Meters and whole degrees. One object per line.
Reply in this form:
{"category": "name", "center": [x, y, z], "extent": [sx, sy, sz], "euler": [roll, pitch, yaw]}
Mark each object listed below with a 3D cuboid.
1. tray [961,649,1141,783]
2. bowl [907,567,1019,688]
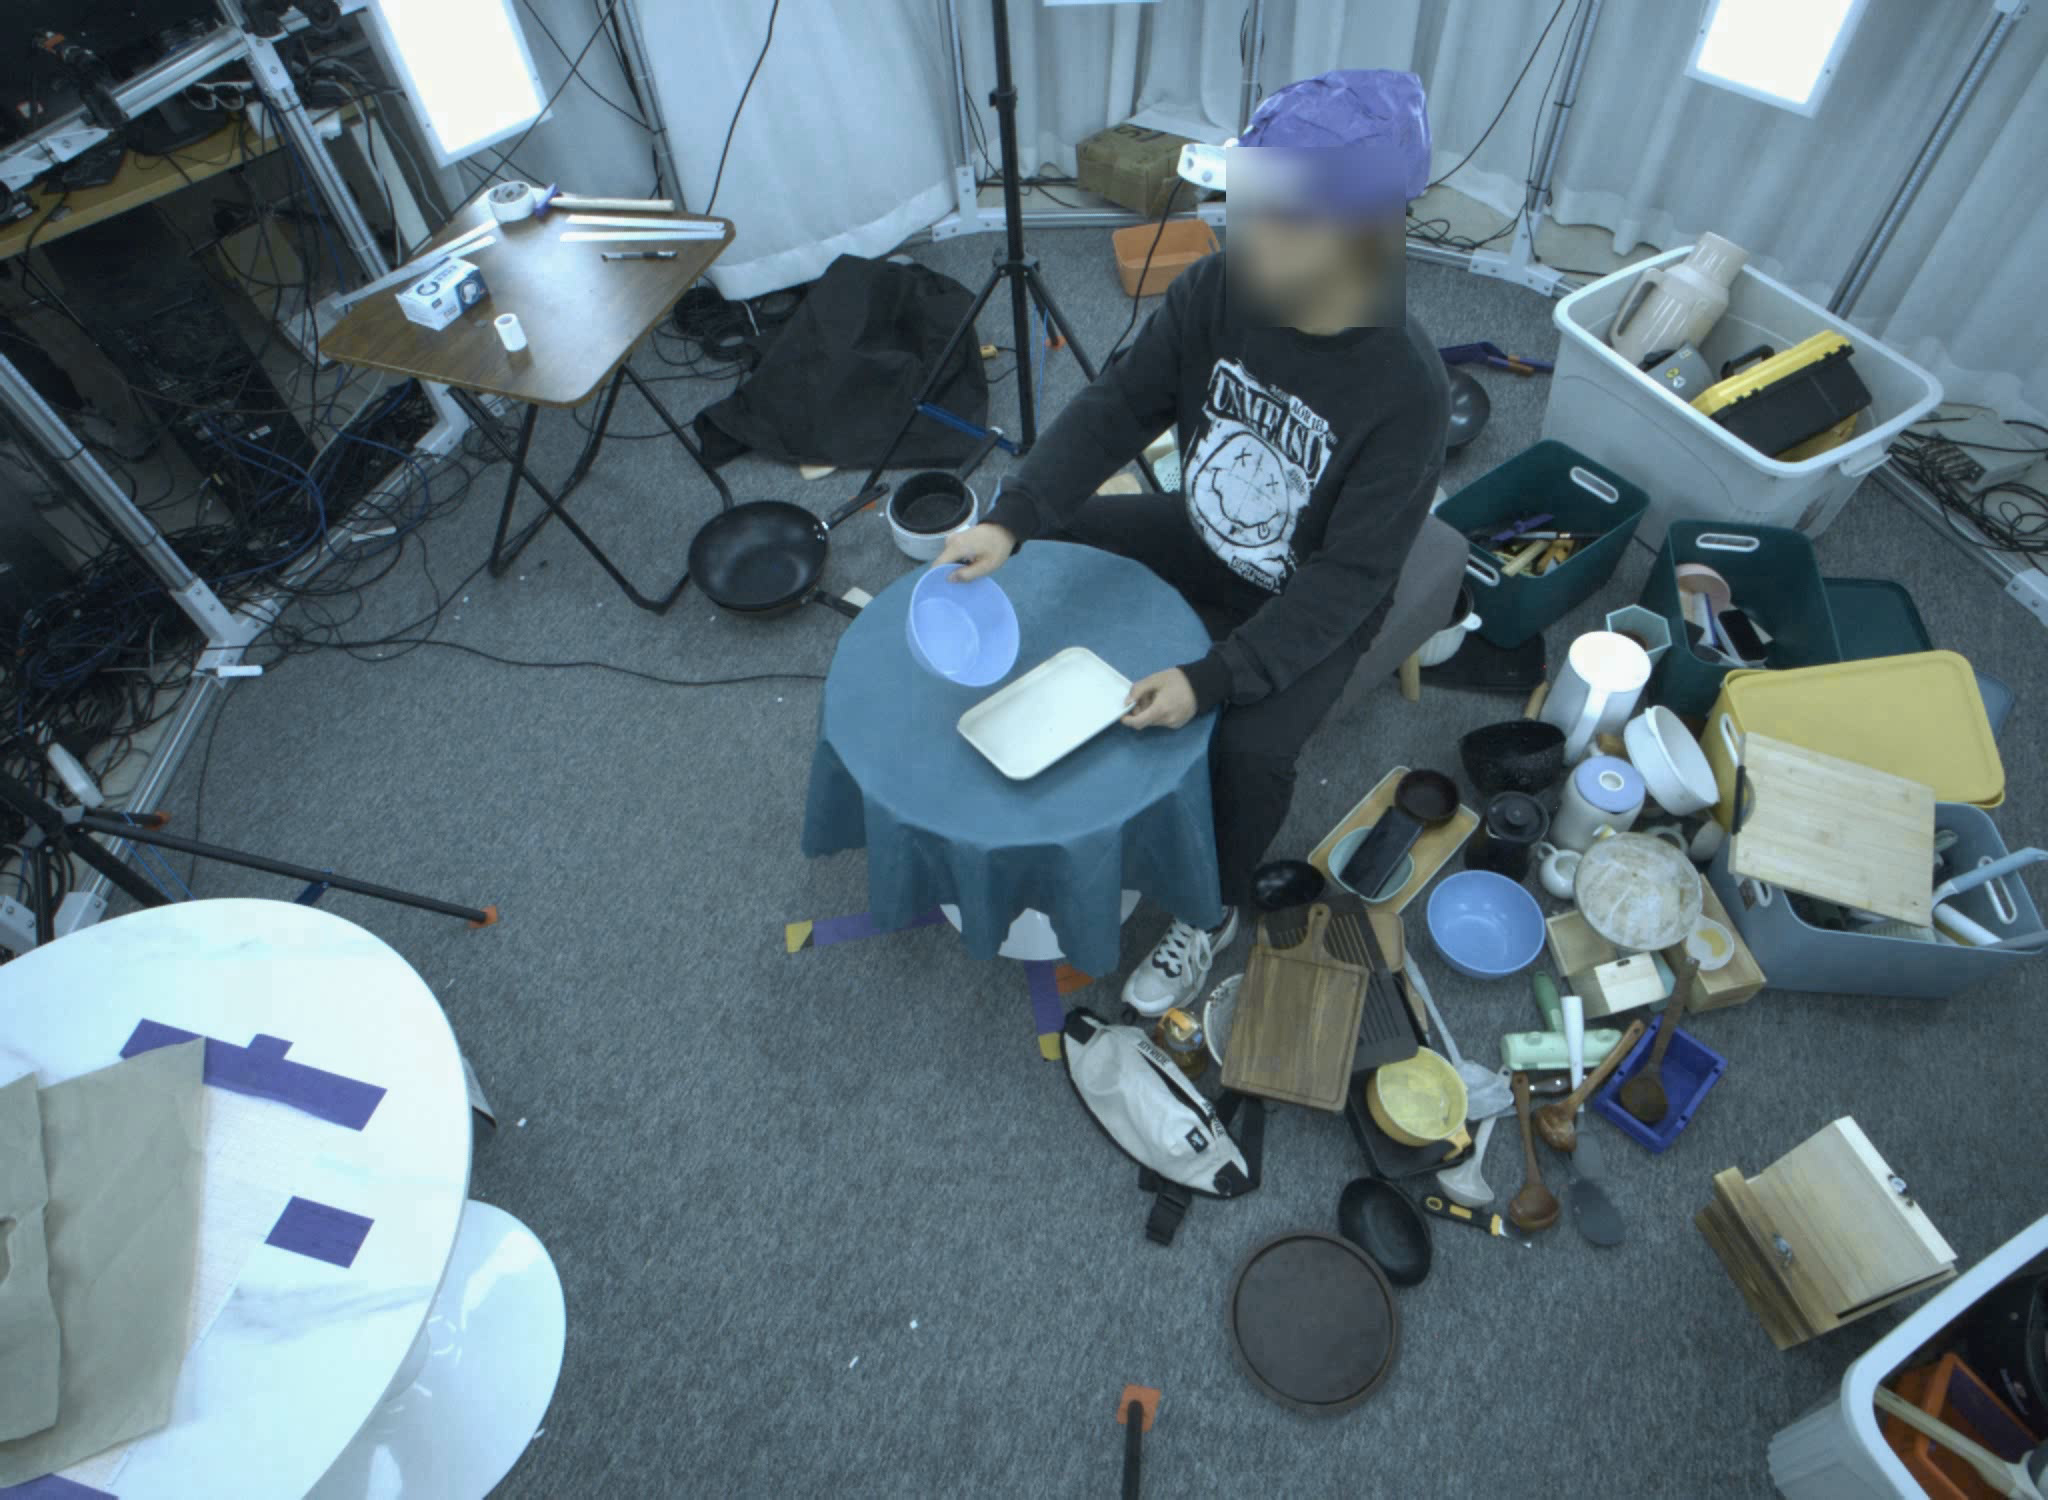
{"category": "tray", "center": [0.039, -0.050, 1.805], "extent": [0.241, 0.018, 0.167], "euler": [-34, 51, -18]}
{"category": "bowl", "center": [-0.097, -0.162, 1.710], "extent": [0.180, 0.069, 0.175], "euler": [13, 70, -35]}
